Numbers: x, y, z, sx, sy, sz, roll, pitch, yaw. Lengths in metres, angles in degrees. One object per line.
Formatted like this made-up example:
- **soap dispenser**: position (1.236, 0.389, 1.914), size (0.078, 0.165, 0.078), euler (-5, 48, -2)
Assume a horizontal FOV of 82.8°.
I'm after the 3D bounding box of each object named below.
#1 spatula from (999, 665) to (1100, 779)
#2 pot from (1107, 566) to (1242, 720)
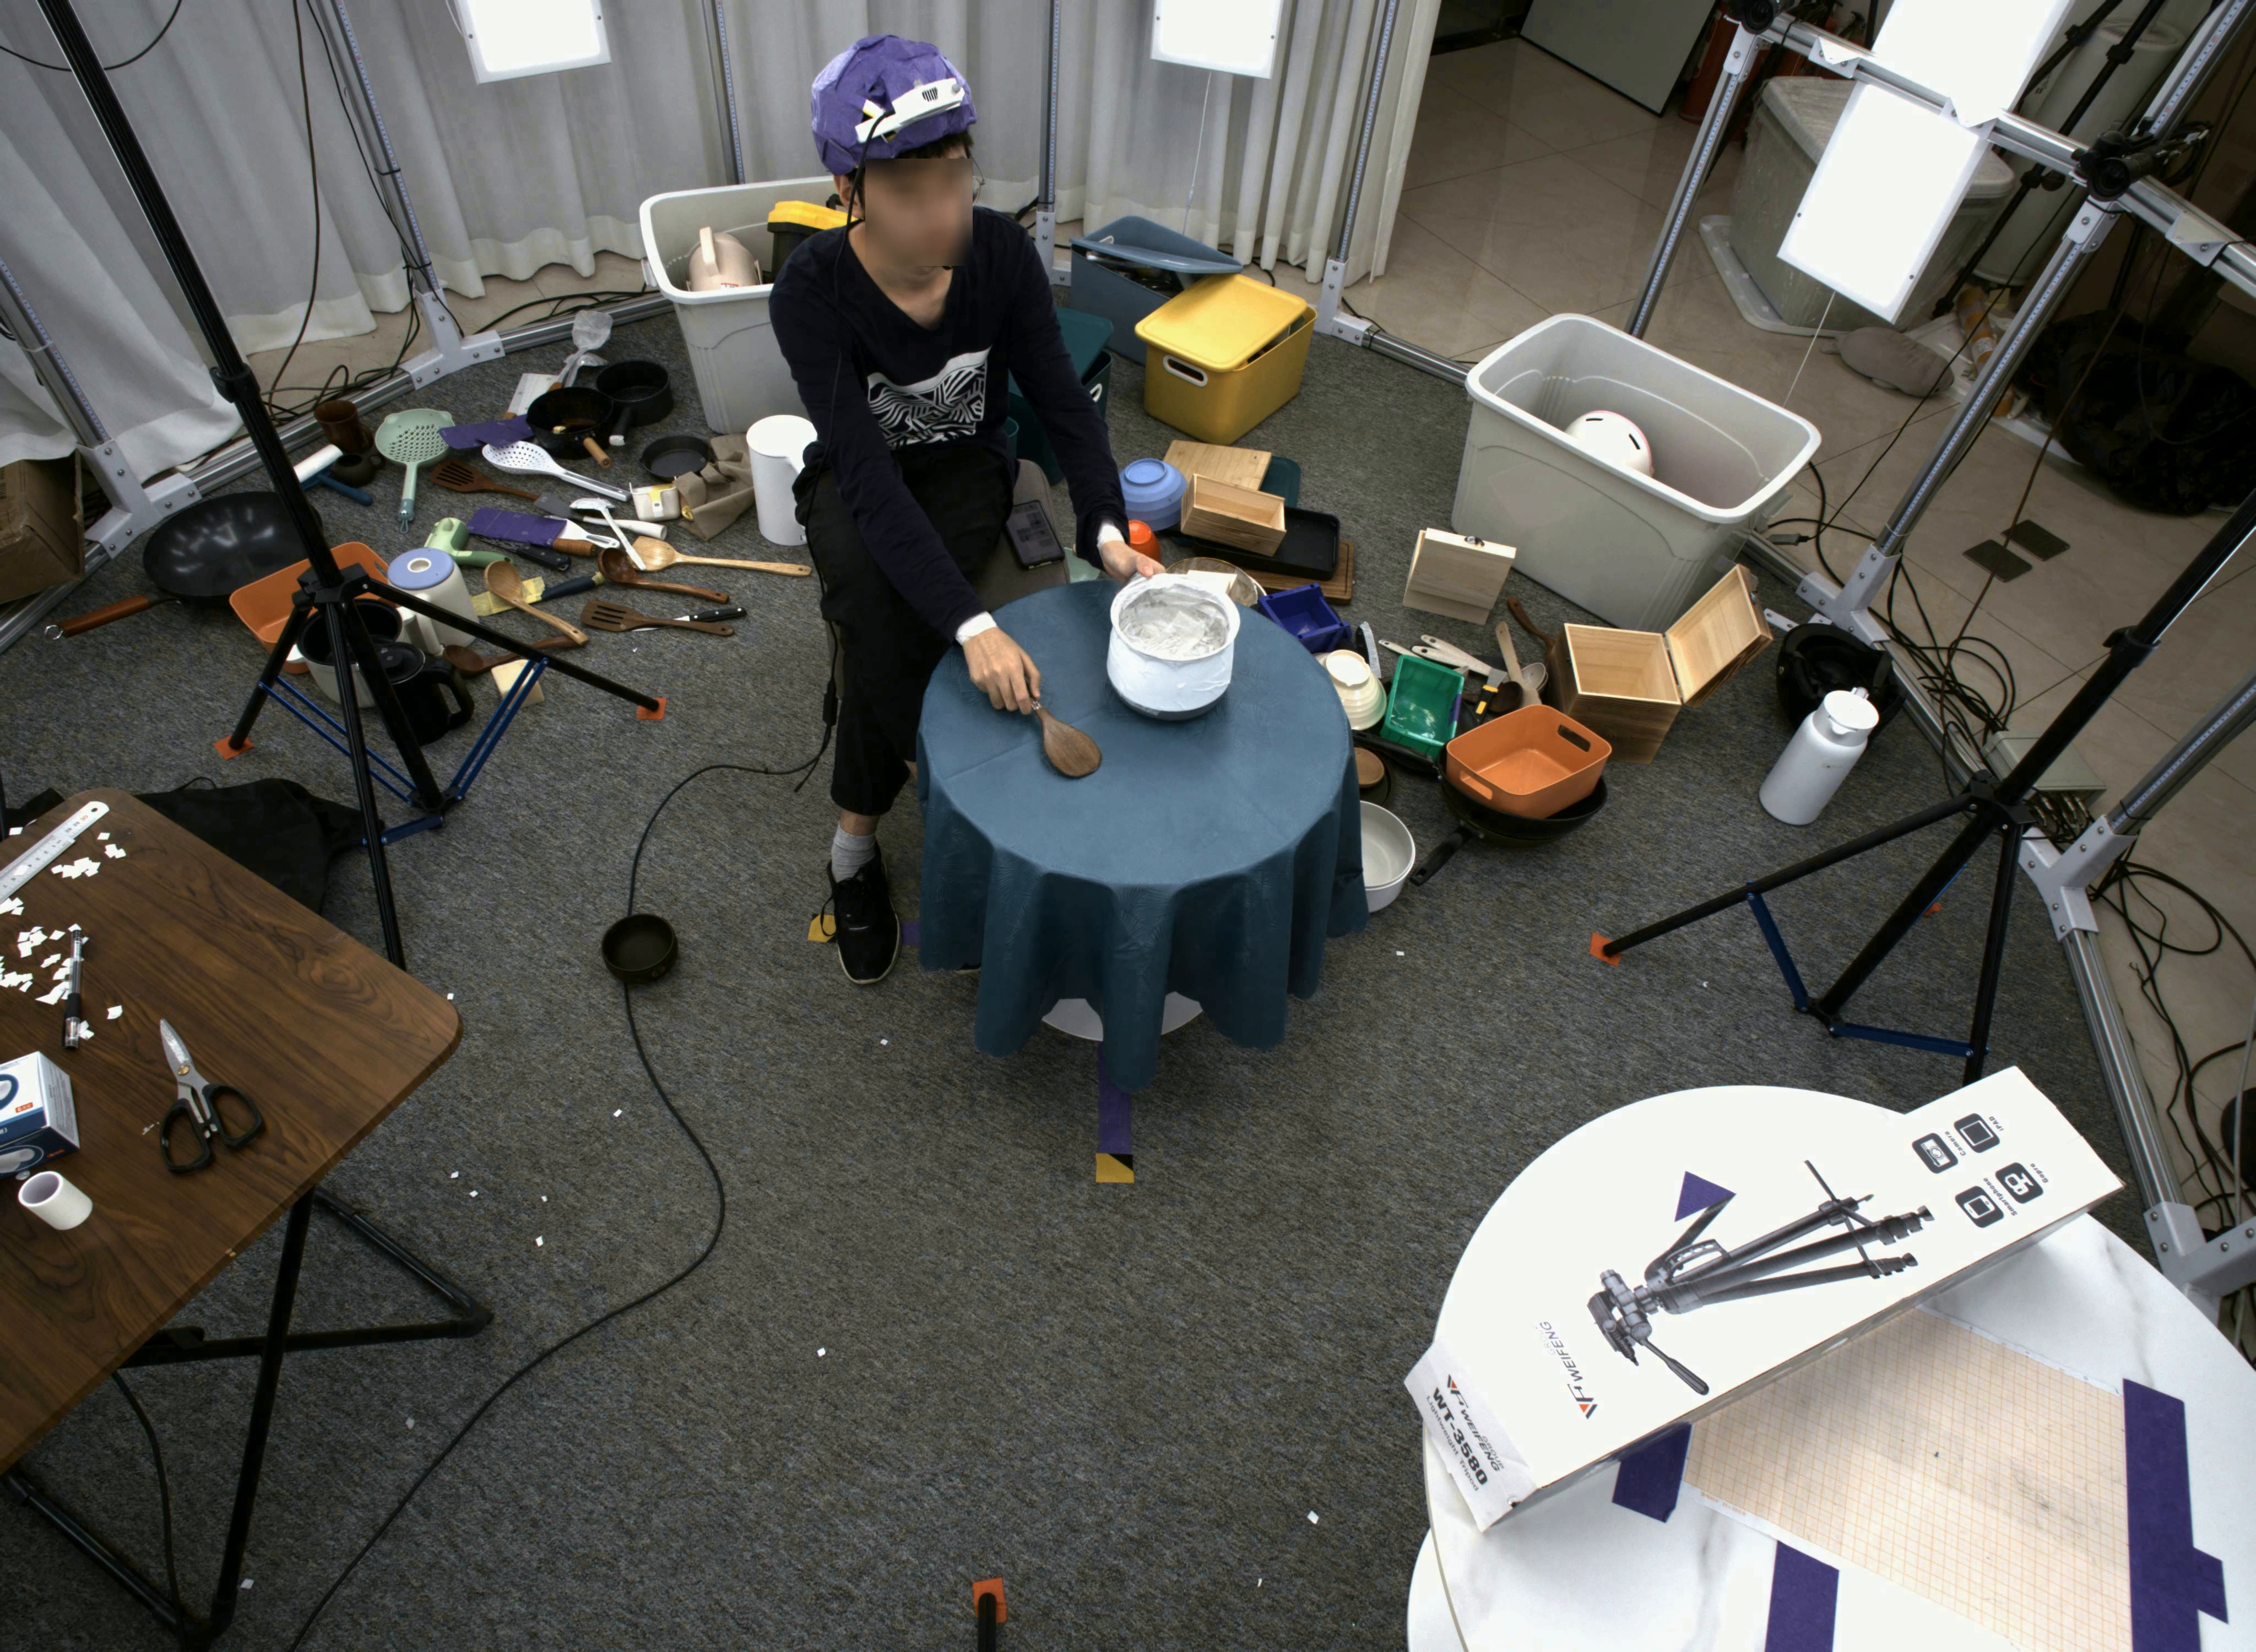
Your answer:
- **spatula**: position (-0.114, -0.148, 1.765), size (0.072, 0.009, 0.219), euler (-23, 61, -29)
- **pot**: position (0.050, -0.267, 1.812), size (0.179, 0.133, 0.239), euler (-15, 53, -20)
